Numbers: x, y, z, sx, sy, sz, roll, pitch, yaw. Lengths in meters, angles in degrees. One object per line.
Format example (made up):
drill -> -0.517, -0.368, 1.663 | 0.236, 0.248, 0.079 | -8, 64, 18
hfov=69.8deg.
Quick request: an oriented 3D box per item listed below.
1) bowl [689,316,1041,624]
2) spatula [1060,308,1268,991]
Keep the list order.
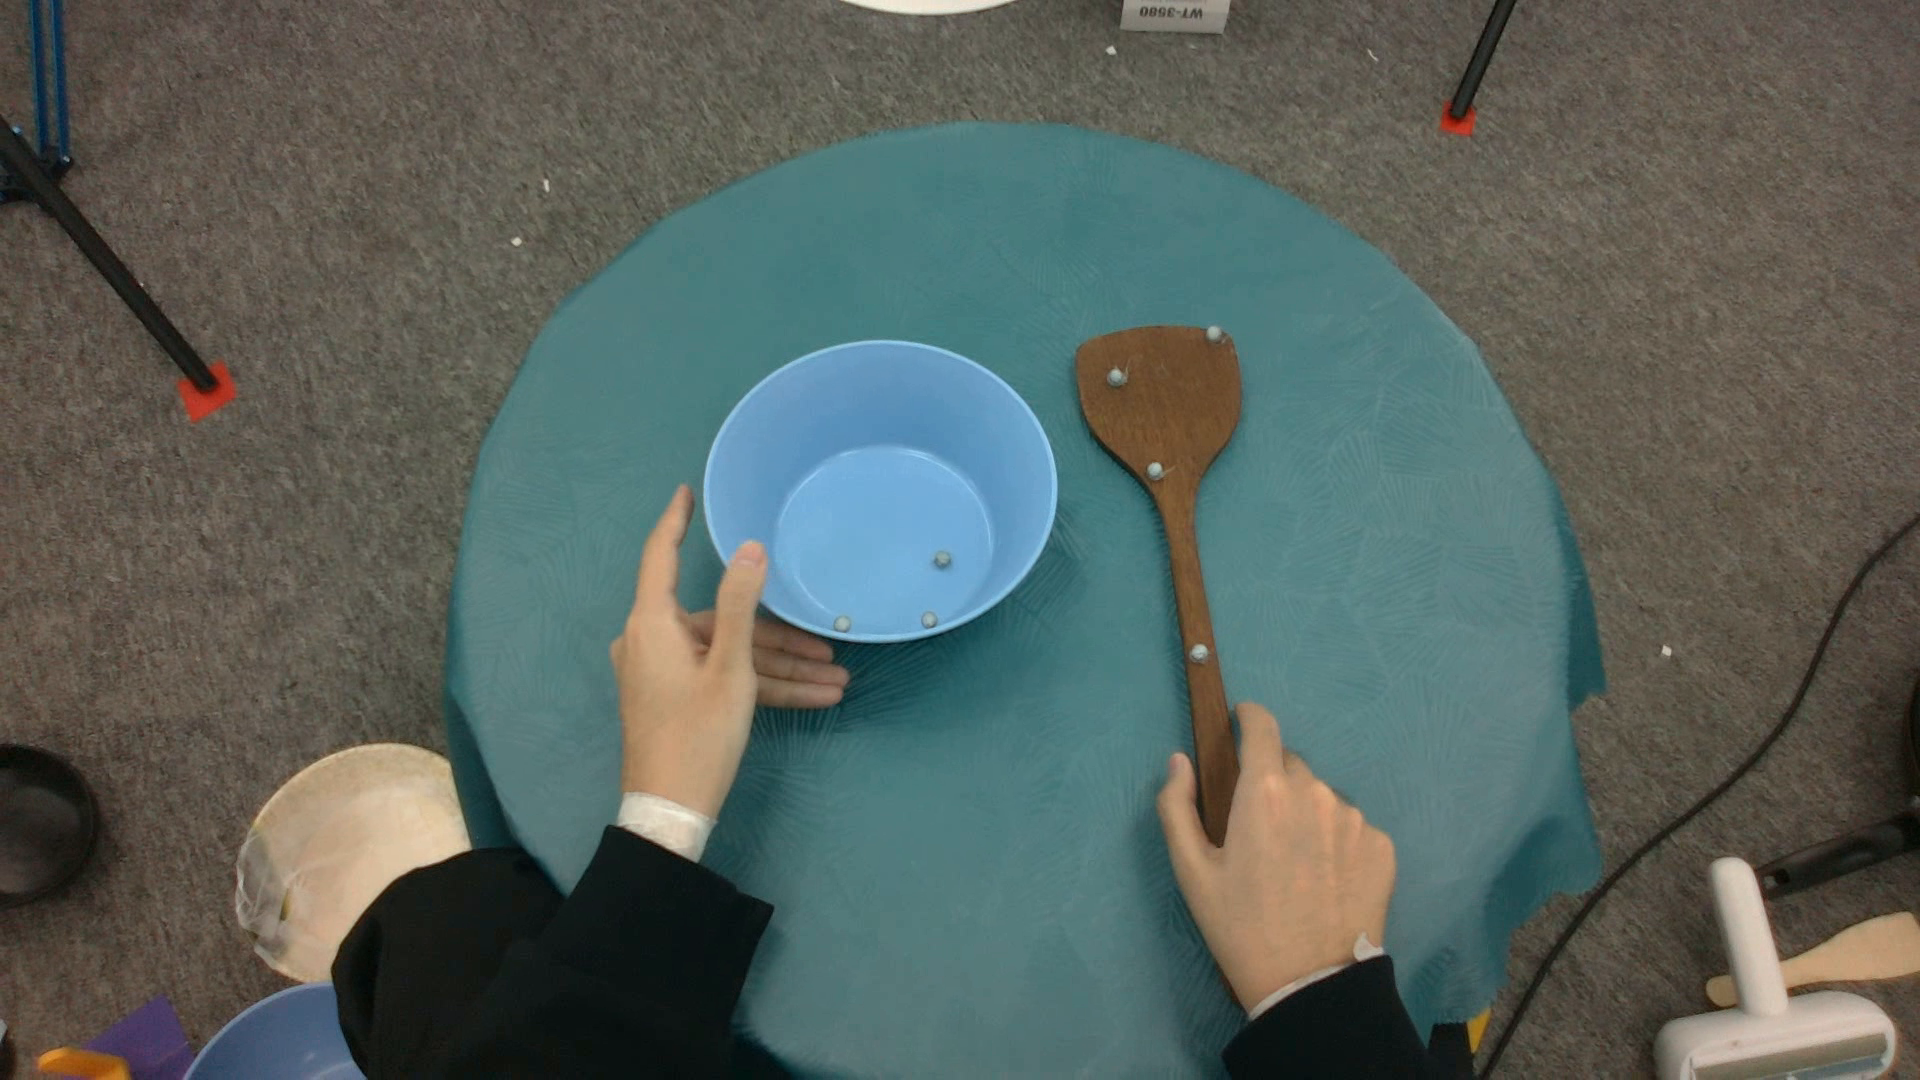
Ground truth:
bowl -> -0.048, -0.026, 0.713 | 0.176, 0.070, 0.177 | 1, 63, -2
spatula -> 0.115, 0.034, 0.714 | 0.096, 0.016, 0.387 | -3, 60, -1
